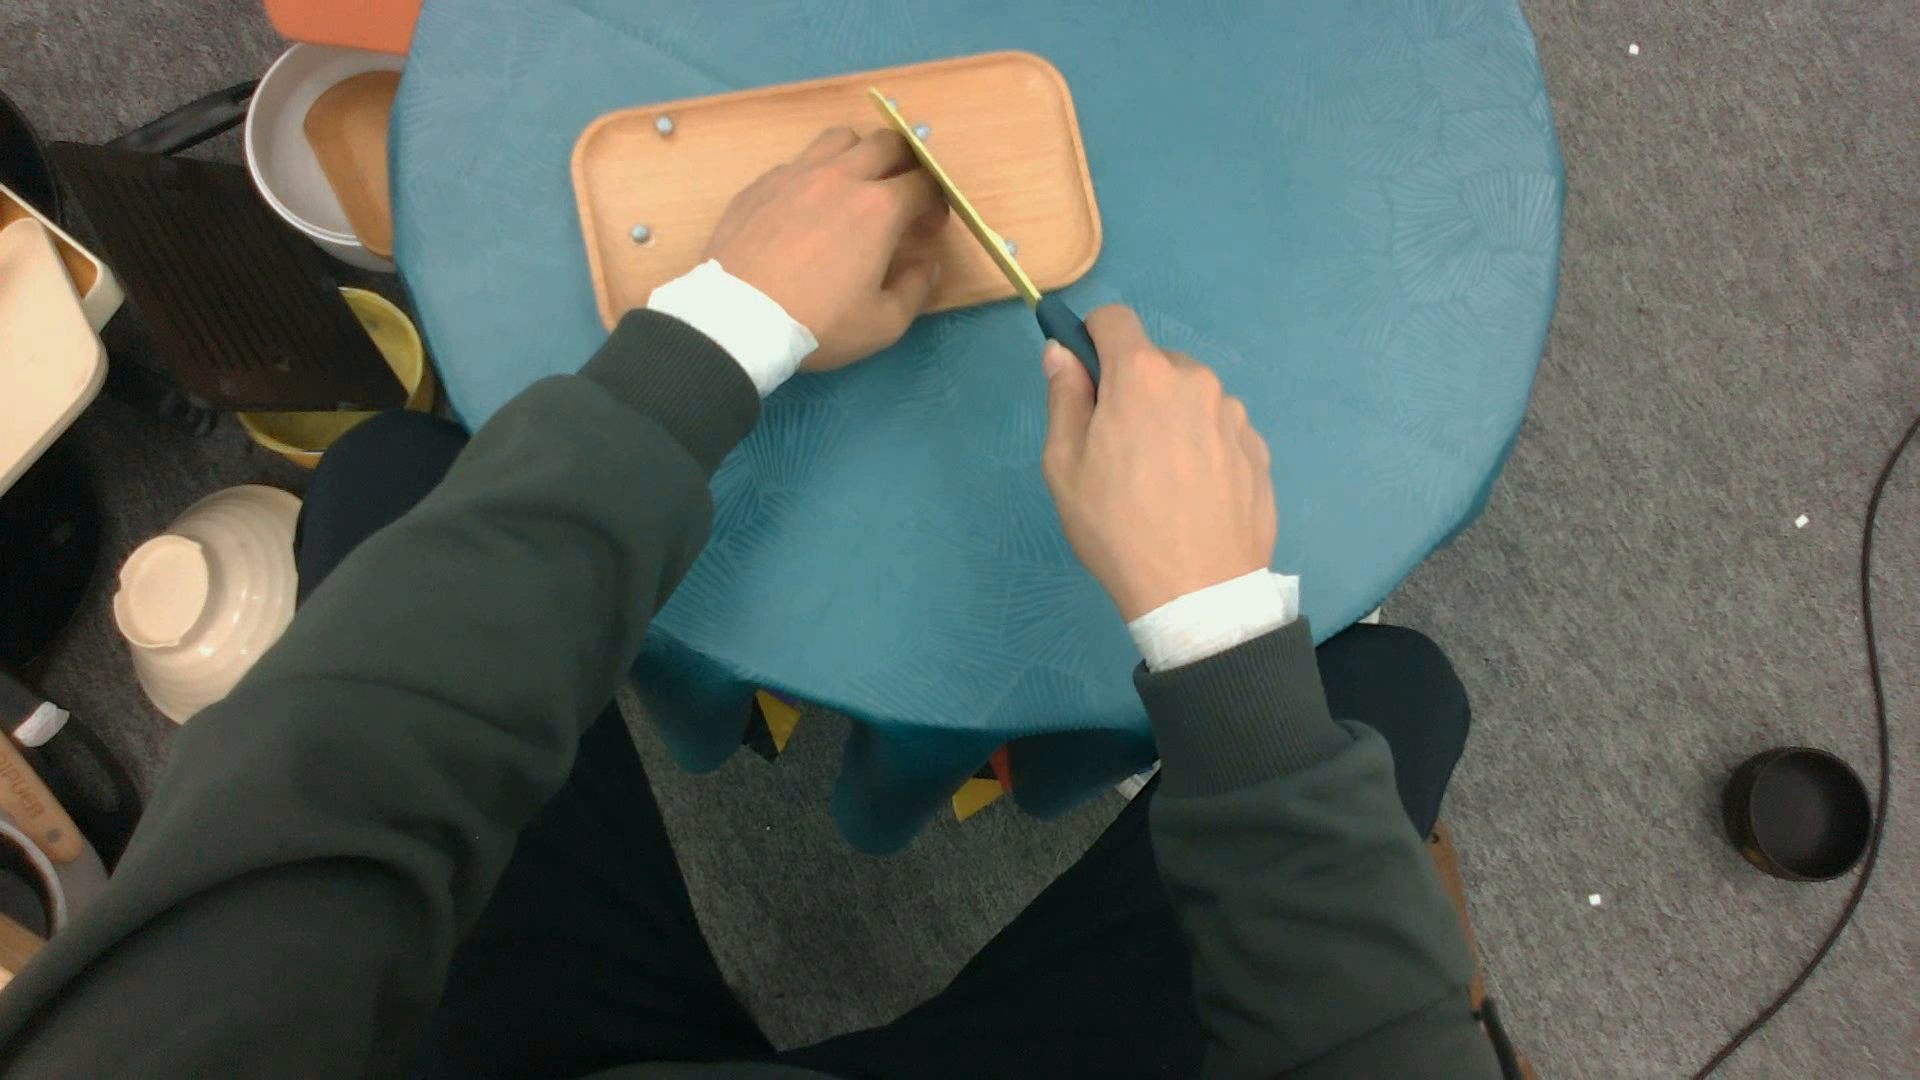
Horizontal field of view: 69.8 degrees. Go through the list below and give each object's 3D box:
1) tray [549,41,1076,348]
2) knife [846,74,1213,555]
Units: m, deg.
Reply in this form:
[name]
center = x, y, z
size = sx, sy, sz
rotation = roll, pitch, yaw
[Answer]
[tray]
center = -0.070, -0.174, 0.688
size = 0.251, 0.023, 0.130
rotation = -12, 85, -12
[knife]
center = 0.024, -0.110, 0.625
size = 0.027, 0.081, 0.290
rotation = -36, 73, 7
